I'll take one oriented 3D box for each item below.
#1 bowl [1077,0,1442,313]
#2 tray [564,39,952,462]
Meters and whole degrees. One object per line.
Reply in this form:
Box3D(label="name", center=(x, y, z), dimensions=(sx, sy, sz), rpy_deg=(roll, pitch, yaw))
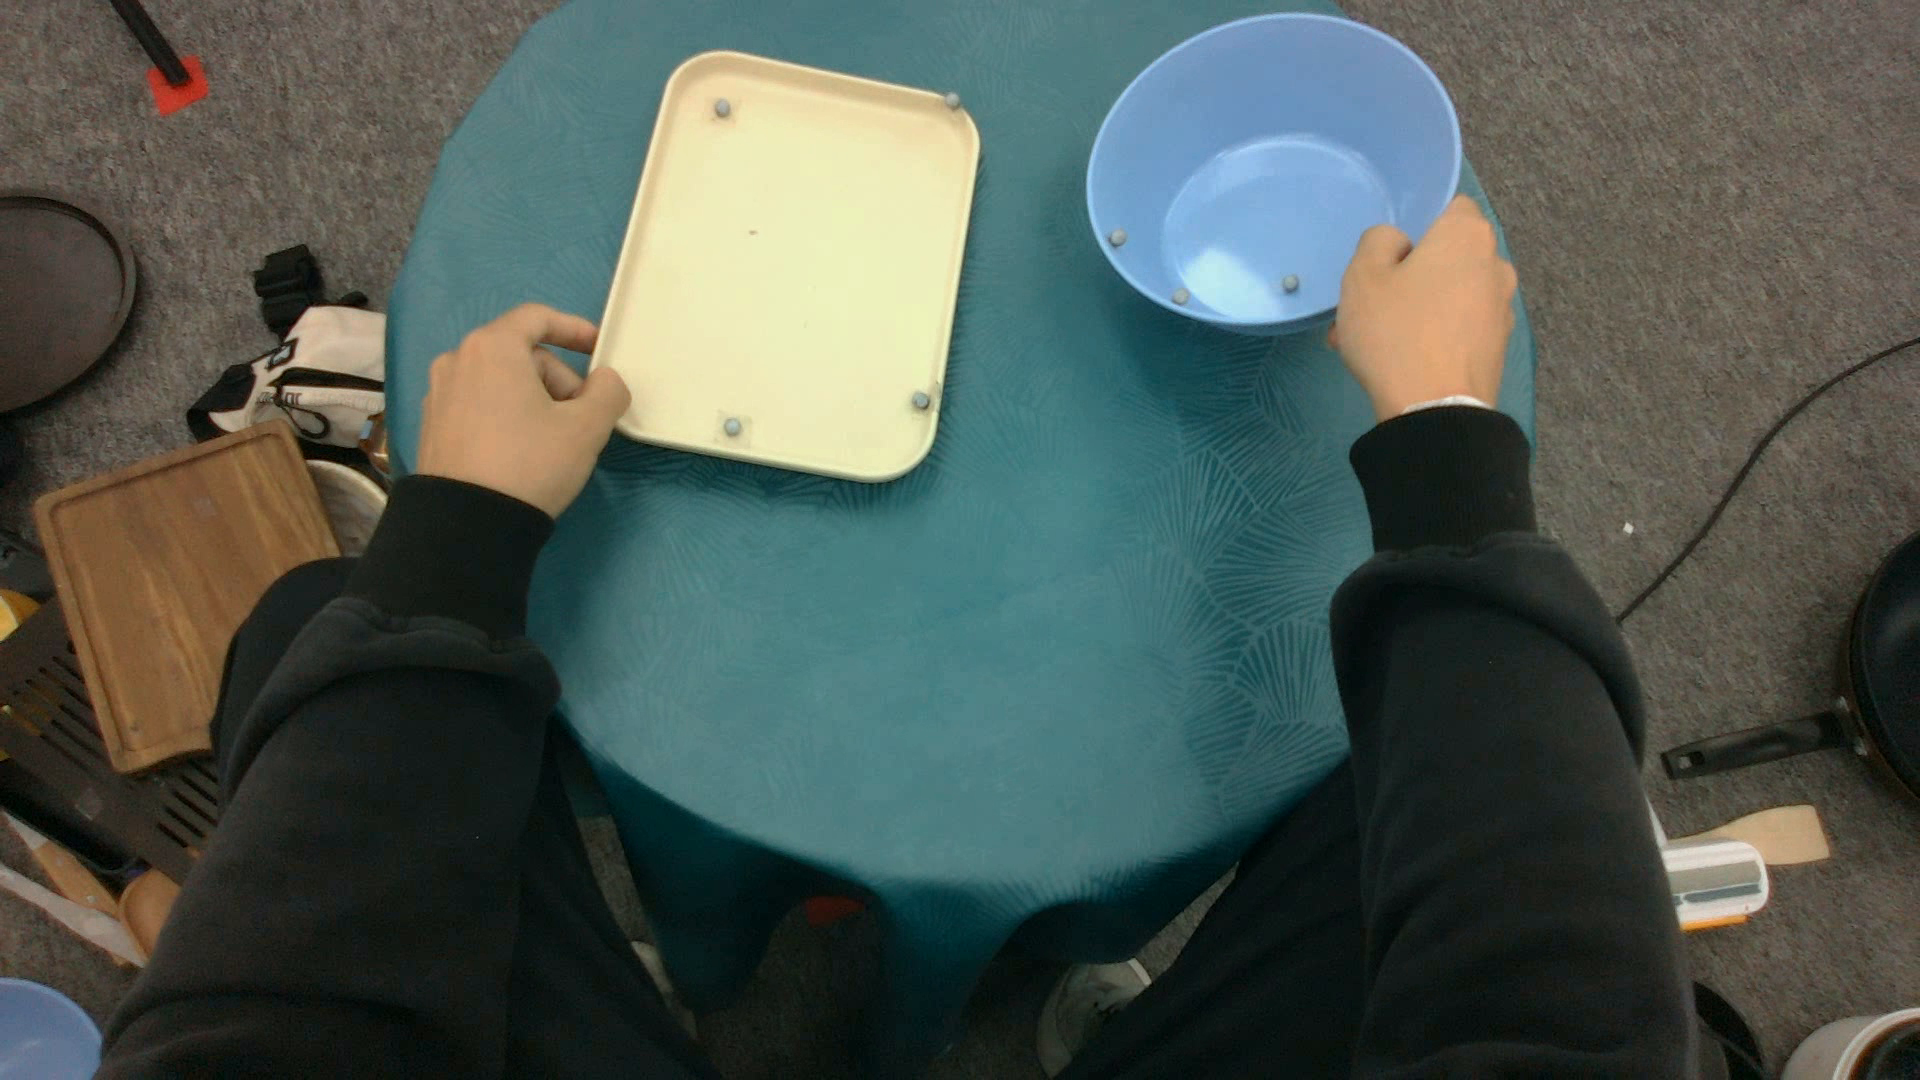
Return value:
Box3D(label="bowl", center=(0.152, -0.182, 0.696), dimensions=(0.176, 0.070, 0.176), rpy_deg=(-7, 67, 17))
Box3D(label="tray", center=(-0.098, -0.153, 0.709), dimensions=(0.171, 0.017, 0.240), rpy_deg=(9, 65, -5))
